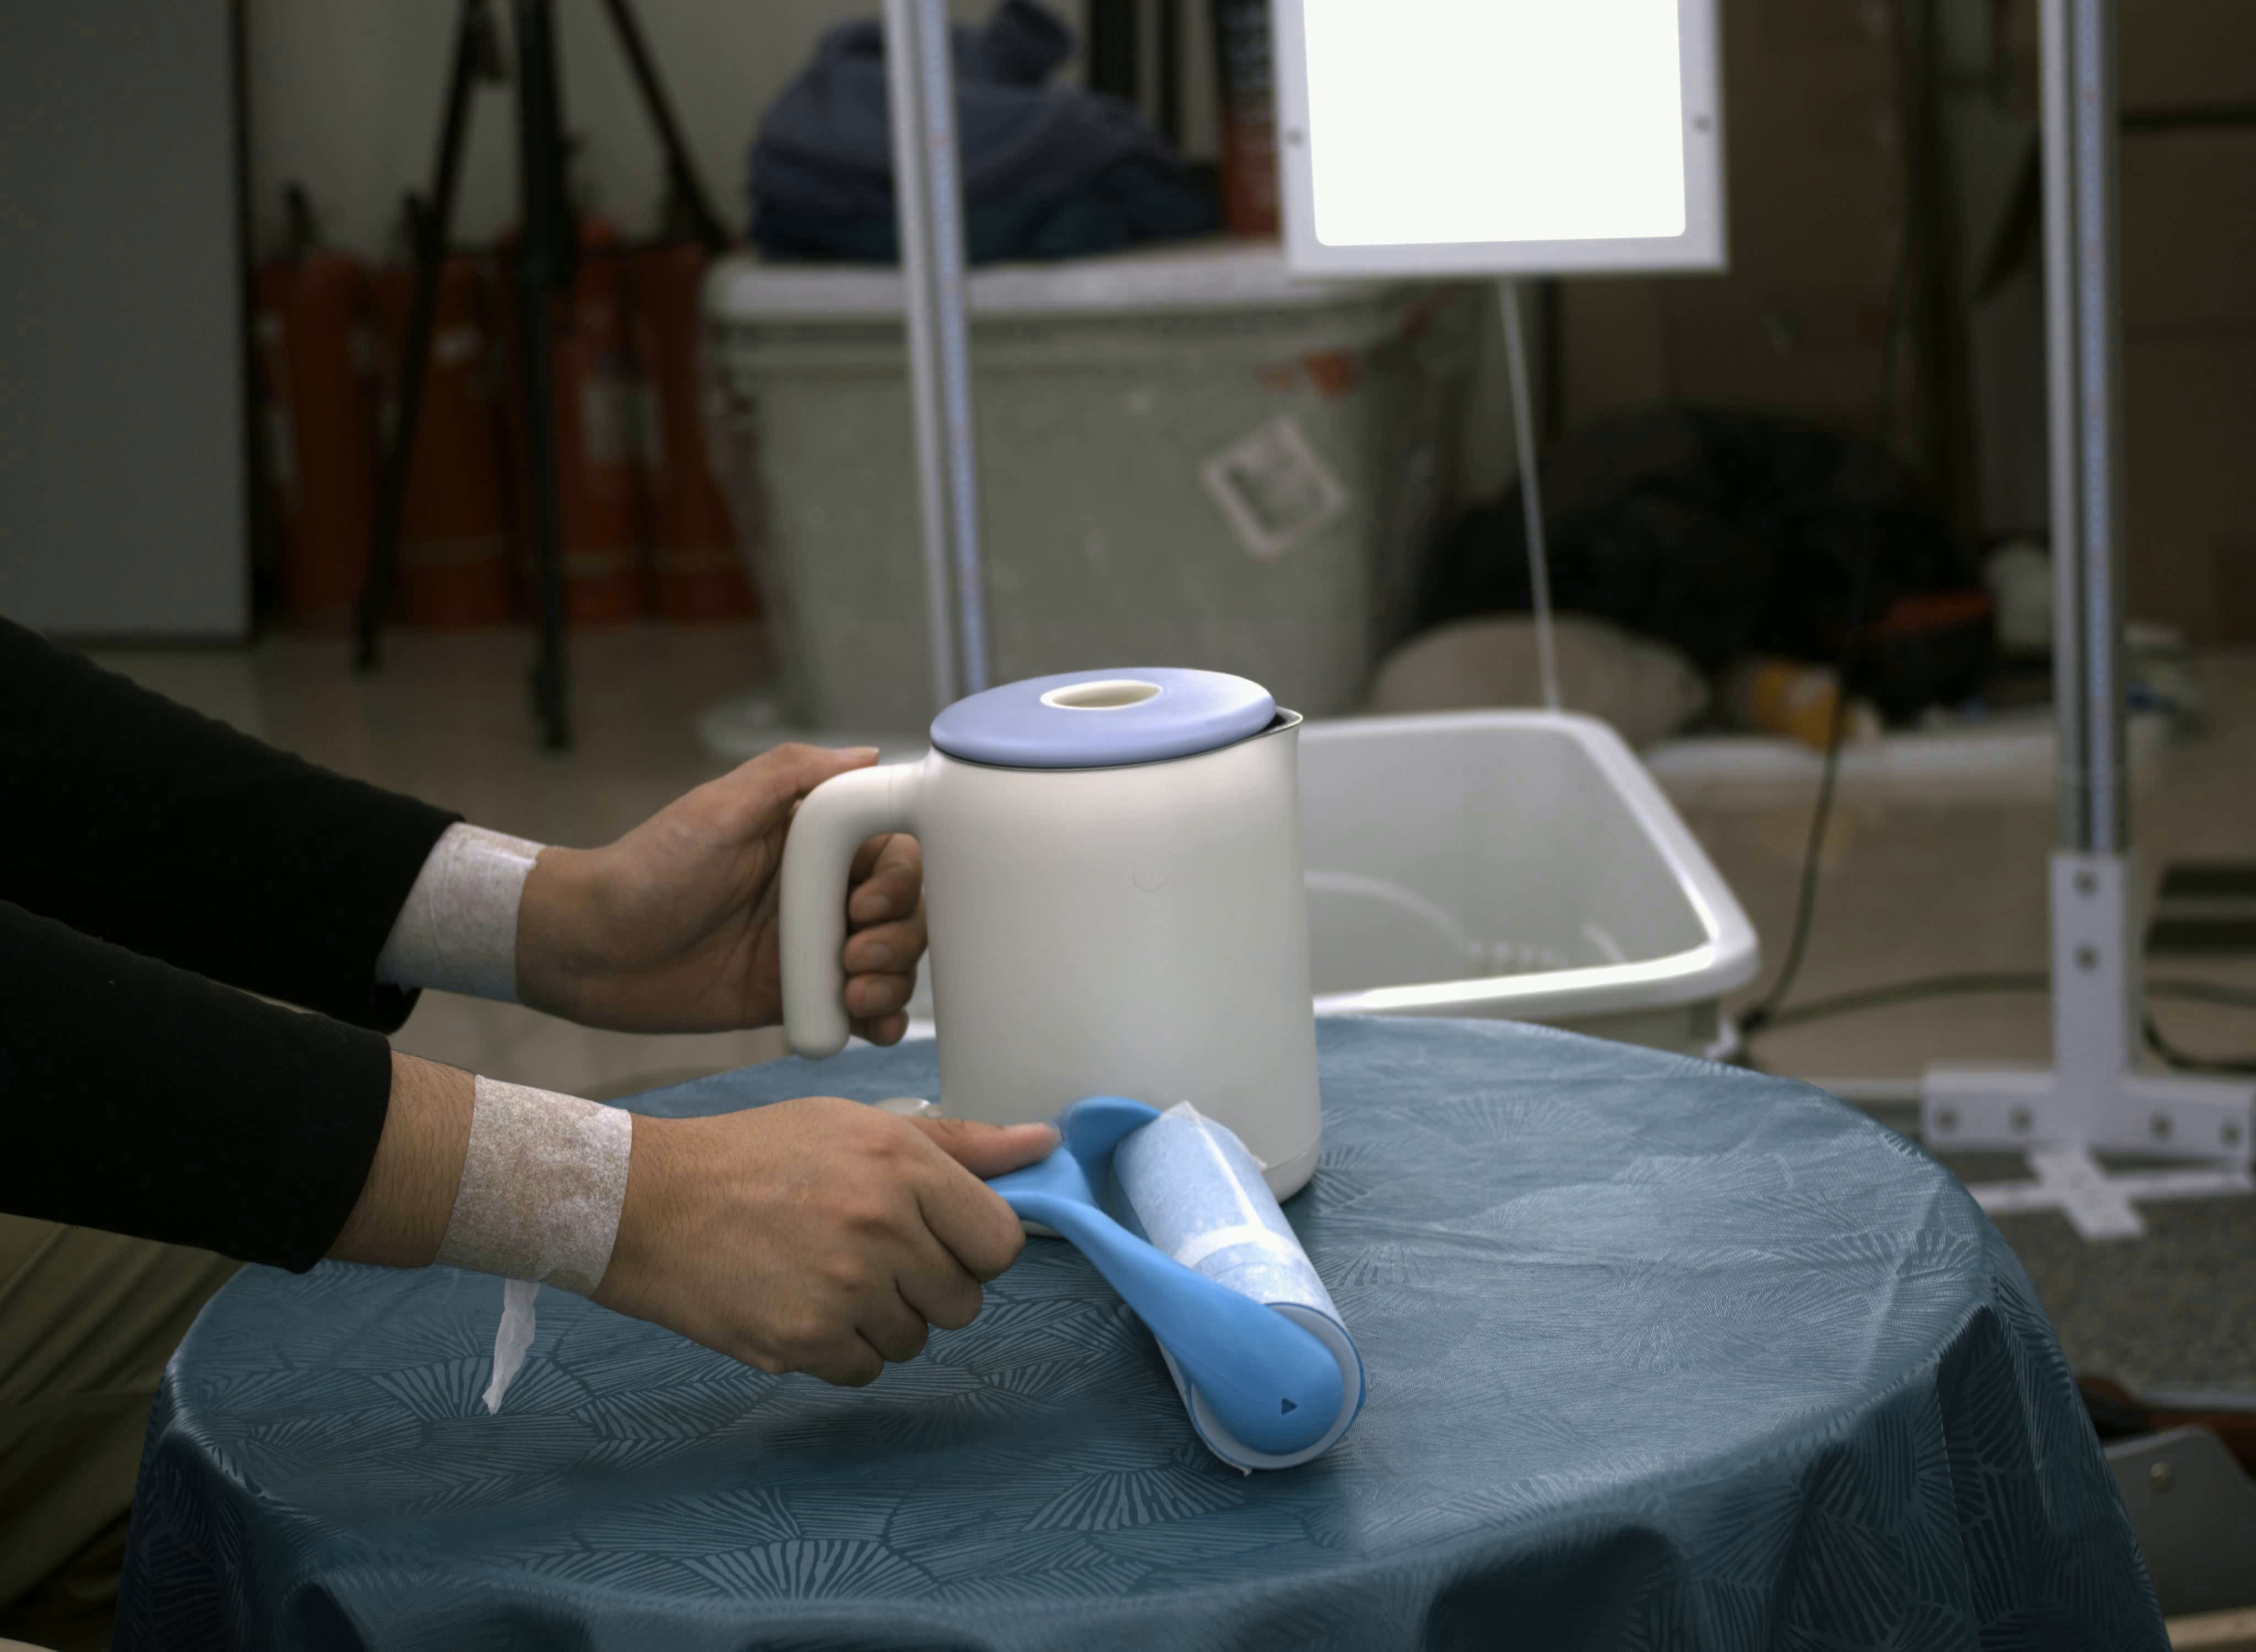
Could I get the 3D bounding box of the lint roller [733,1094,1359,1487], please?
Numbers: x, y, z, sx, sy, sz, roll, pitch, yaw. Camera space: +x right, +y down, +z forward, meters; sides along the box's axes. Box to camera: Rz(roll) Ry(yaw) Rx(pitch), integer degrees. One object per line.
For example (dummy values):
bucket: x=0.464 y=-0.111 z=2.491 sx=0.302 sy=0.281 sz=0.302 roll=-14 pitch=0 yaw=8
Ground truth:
lint roller: x=-0.029 y=0.137 z=1.701 sx=0.178 sy=0.068 sz=0.230 roll=6 pitch=15 yaw=-11

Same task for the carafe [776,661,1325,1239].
carafe: x=-0.027 y=0.043 z=1.886 sx=0.192 sy=0.183 sz=0.131 roll=-5 pitch=13 yaw=9
